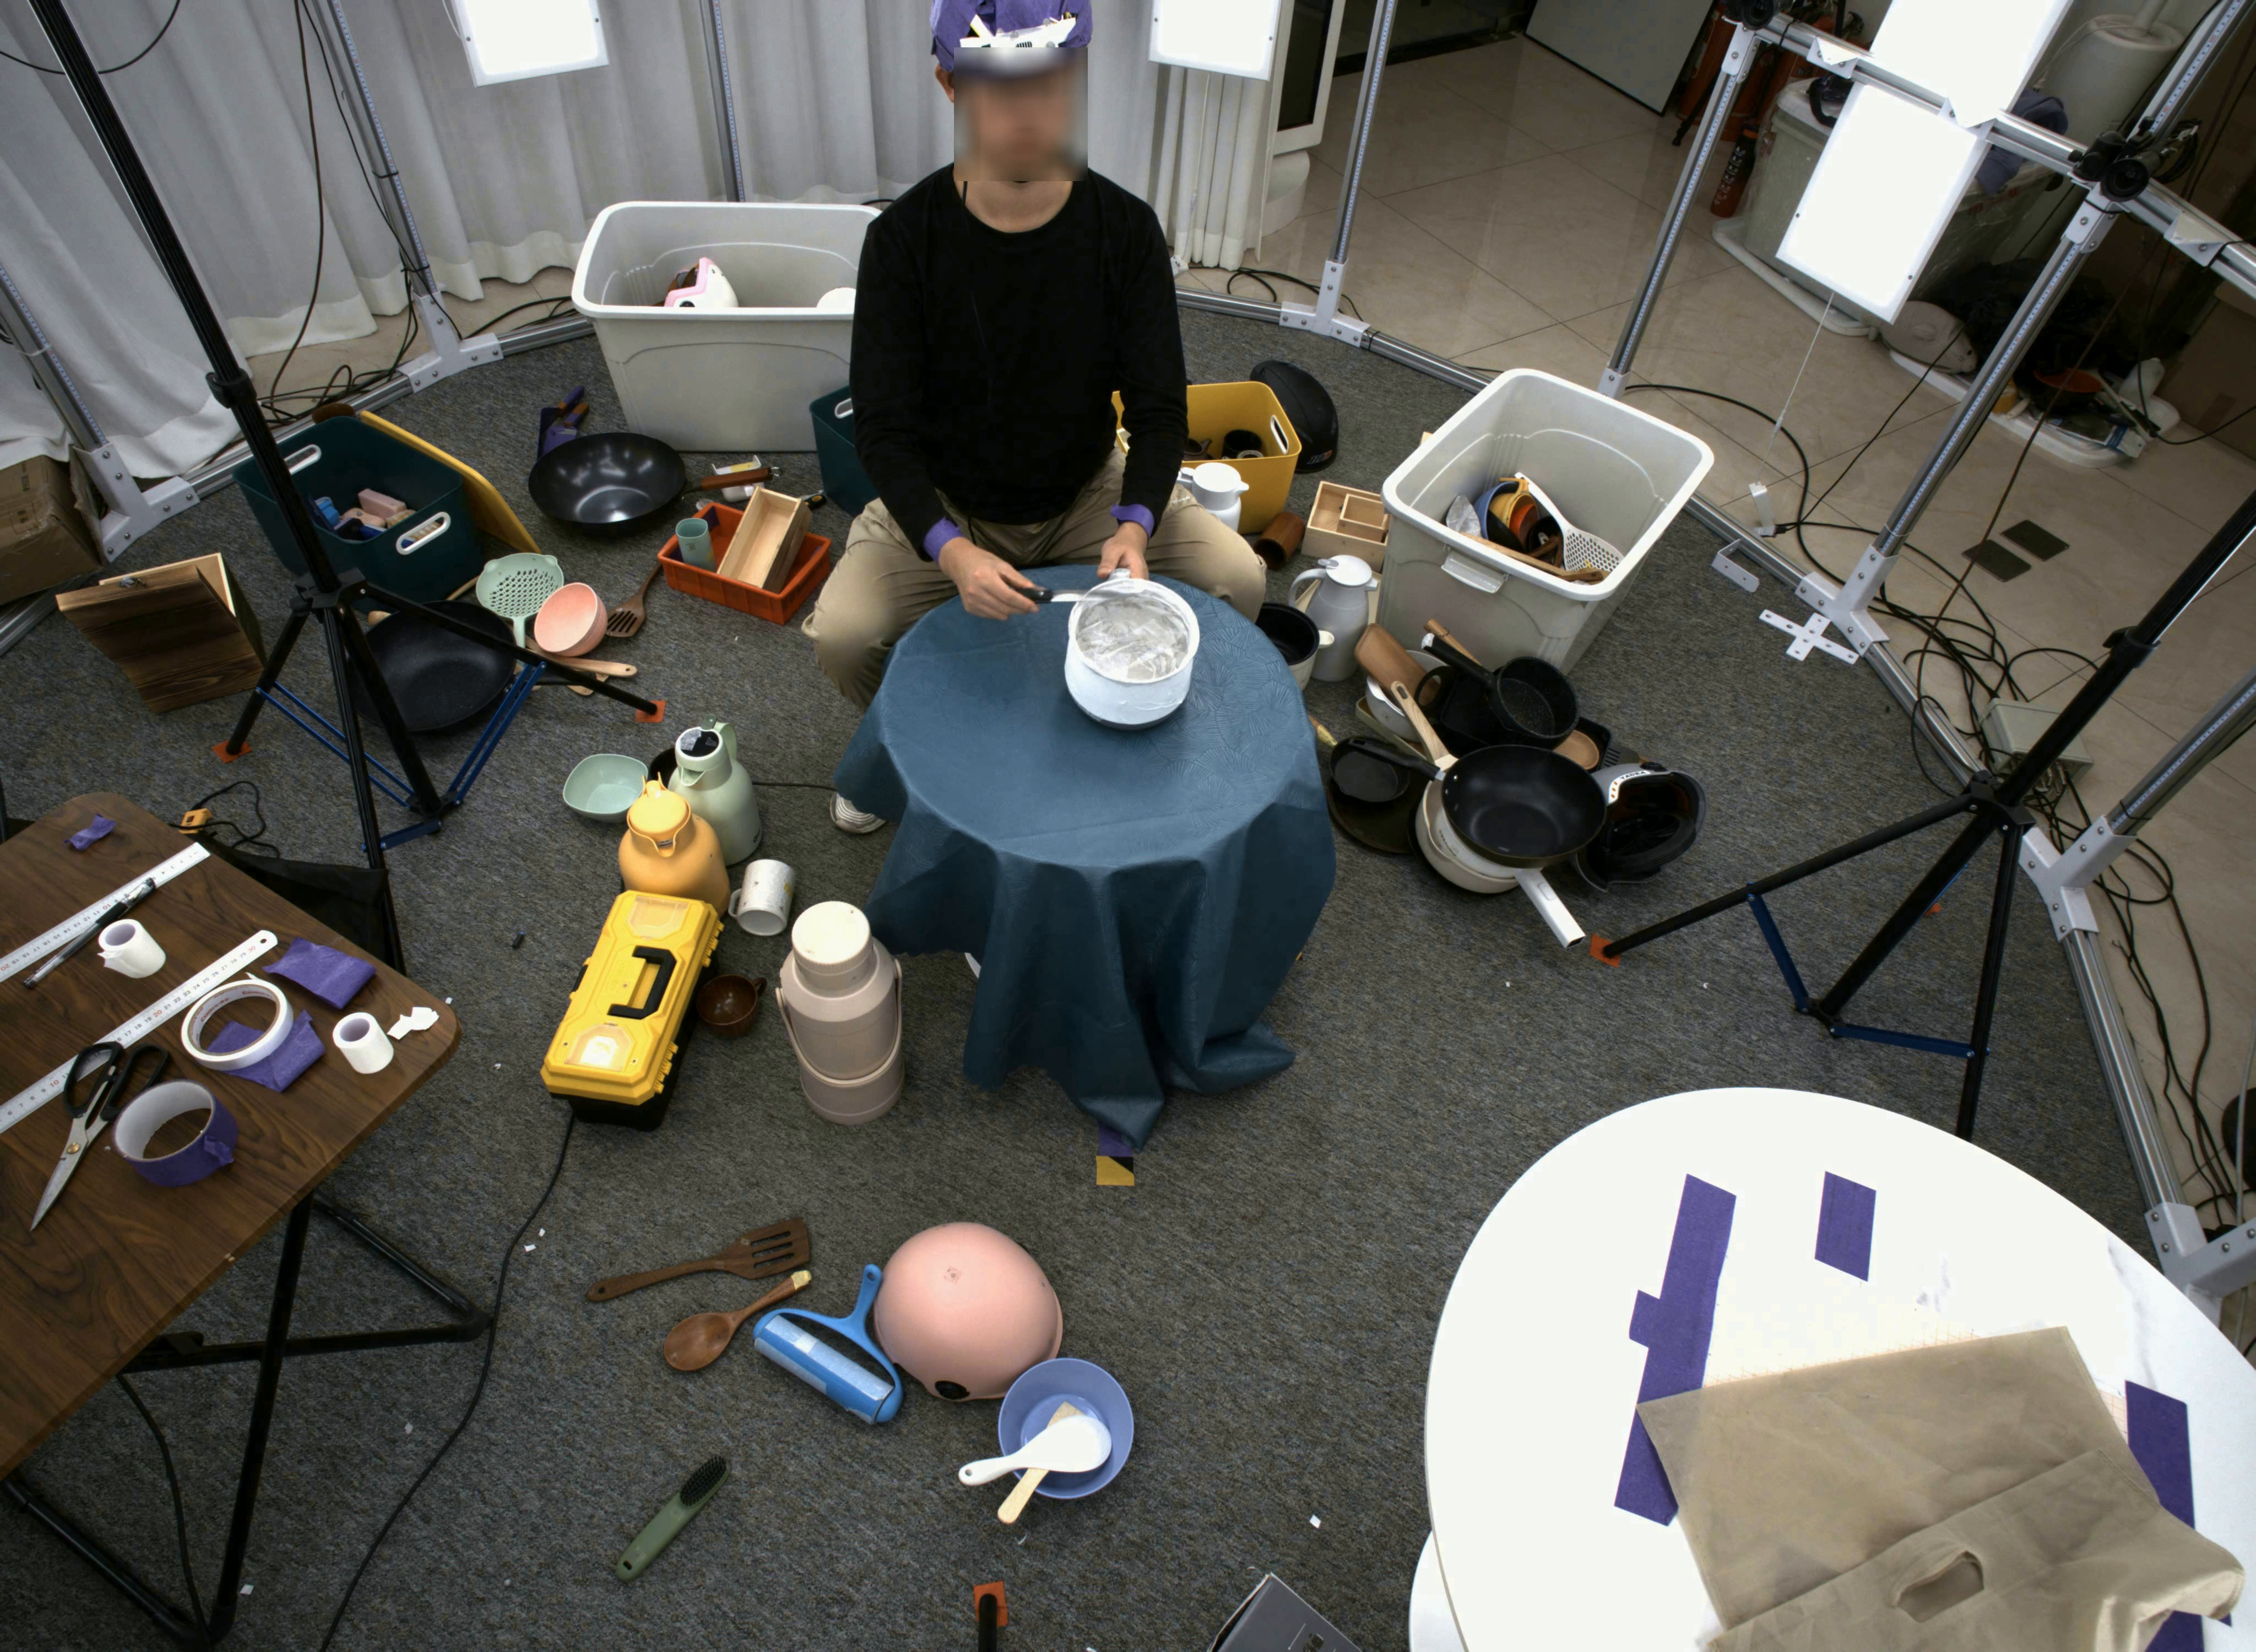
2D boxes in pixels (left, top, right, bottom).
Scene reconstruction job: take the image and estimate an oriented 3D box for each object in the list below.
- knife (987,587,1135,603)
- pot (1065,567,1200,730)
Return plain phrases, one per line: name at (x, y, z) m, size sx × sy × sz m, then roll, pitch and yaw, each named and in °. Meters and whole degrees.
knife at (-0.095, -0.317, 1.762) m, size 0.239 × 0.016 × 0.025 m, roll 4°, pitch 52°, yaw 29°
pot at (-0.002, -0.257, 1.784) m, size 0.178 × 0.134 × 0.239 m, roll -5°, pitch 61°, yaw -9°
